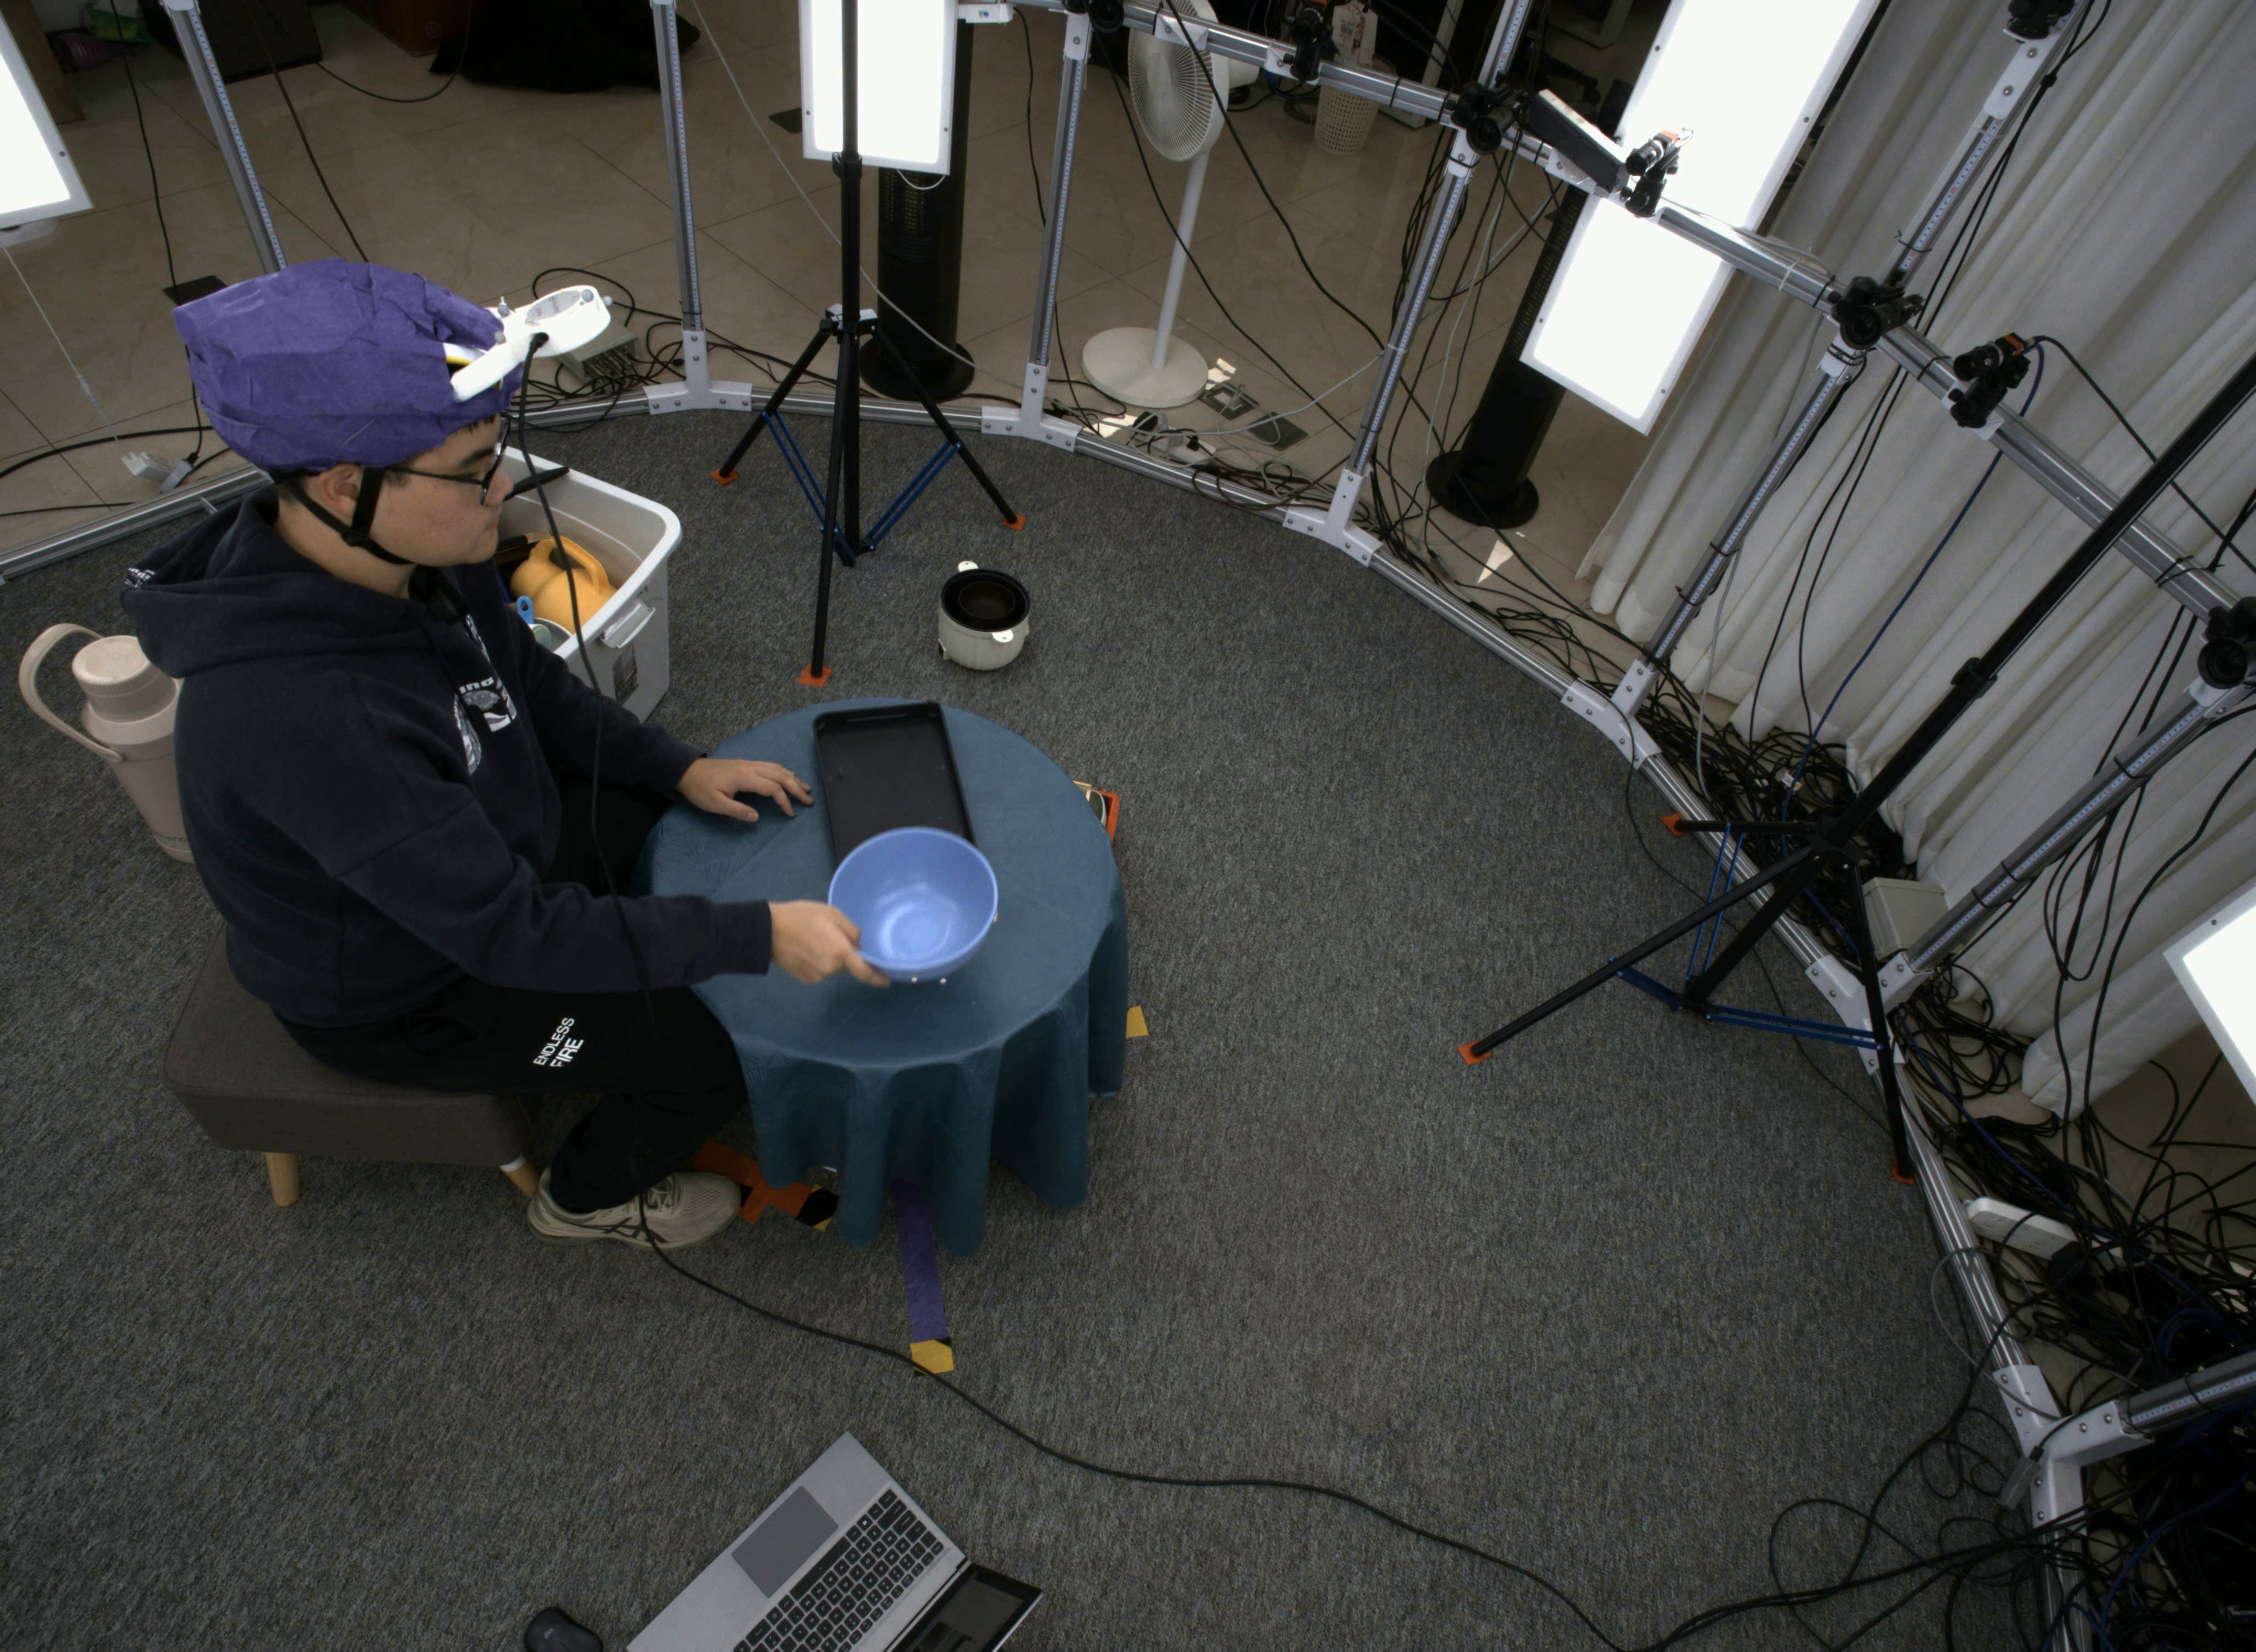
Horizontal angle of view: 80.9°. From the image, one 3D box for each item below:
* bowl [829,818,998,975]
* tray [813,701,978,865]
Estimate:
[{"bbox_3d":[-0.251,0.097,1.542,0.195,0.097,0.193,4,56,-4],"label":"bowl"},{"bbox_3d":[-0.313,-0.034,1.749,0.185,0.038,0.310,-7,56,-18],"label":"tray"}]
